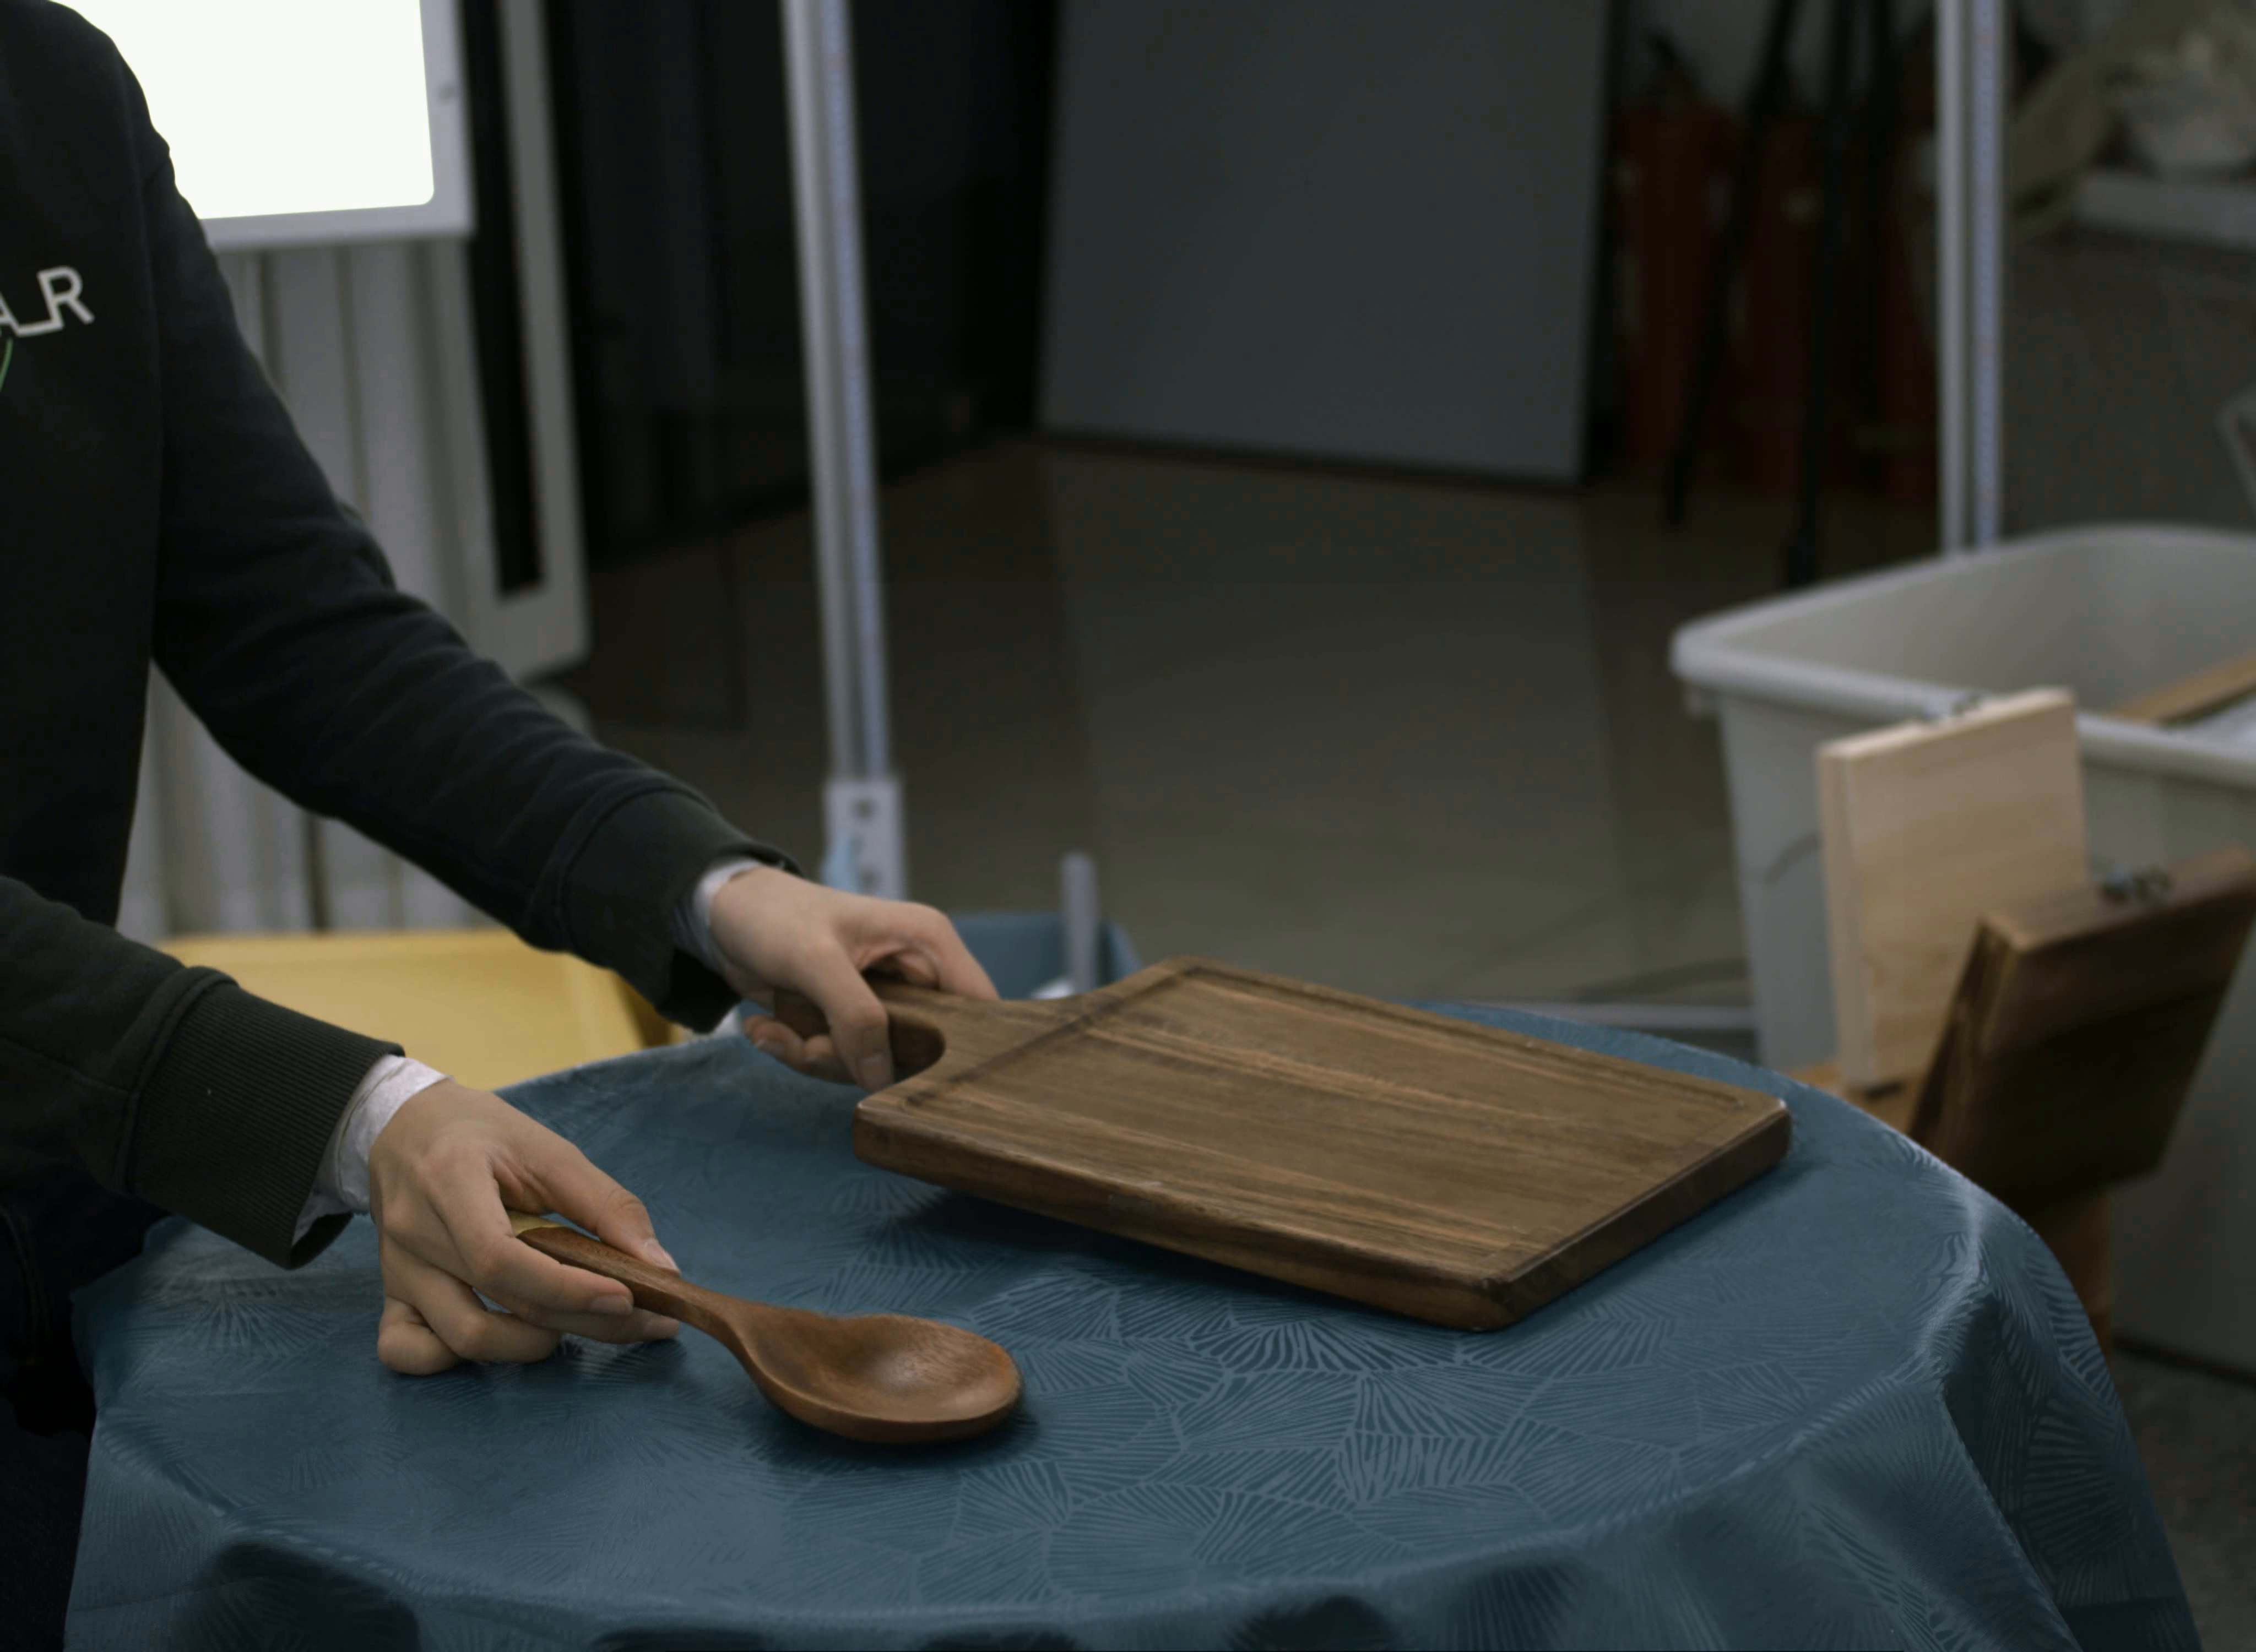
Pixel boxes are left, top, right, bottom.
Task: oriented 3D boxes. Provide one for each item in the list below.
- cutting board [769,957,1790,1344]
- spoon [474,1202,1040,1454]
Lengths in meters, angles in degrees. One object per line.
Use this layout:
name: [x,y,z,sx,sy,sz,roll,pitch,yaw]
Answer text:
cutting board: [0.024,0.092,1.780,0.354,0.023,0.197,12,23,34]
spoon: [-0.116,0.149,1.613,0.217,0.017,0.074,18,26,37]
